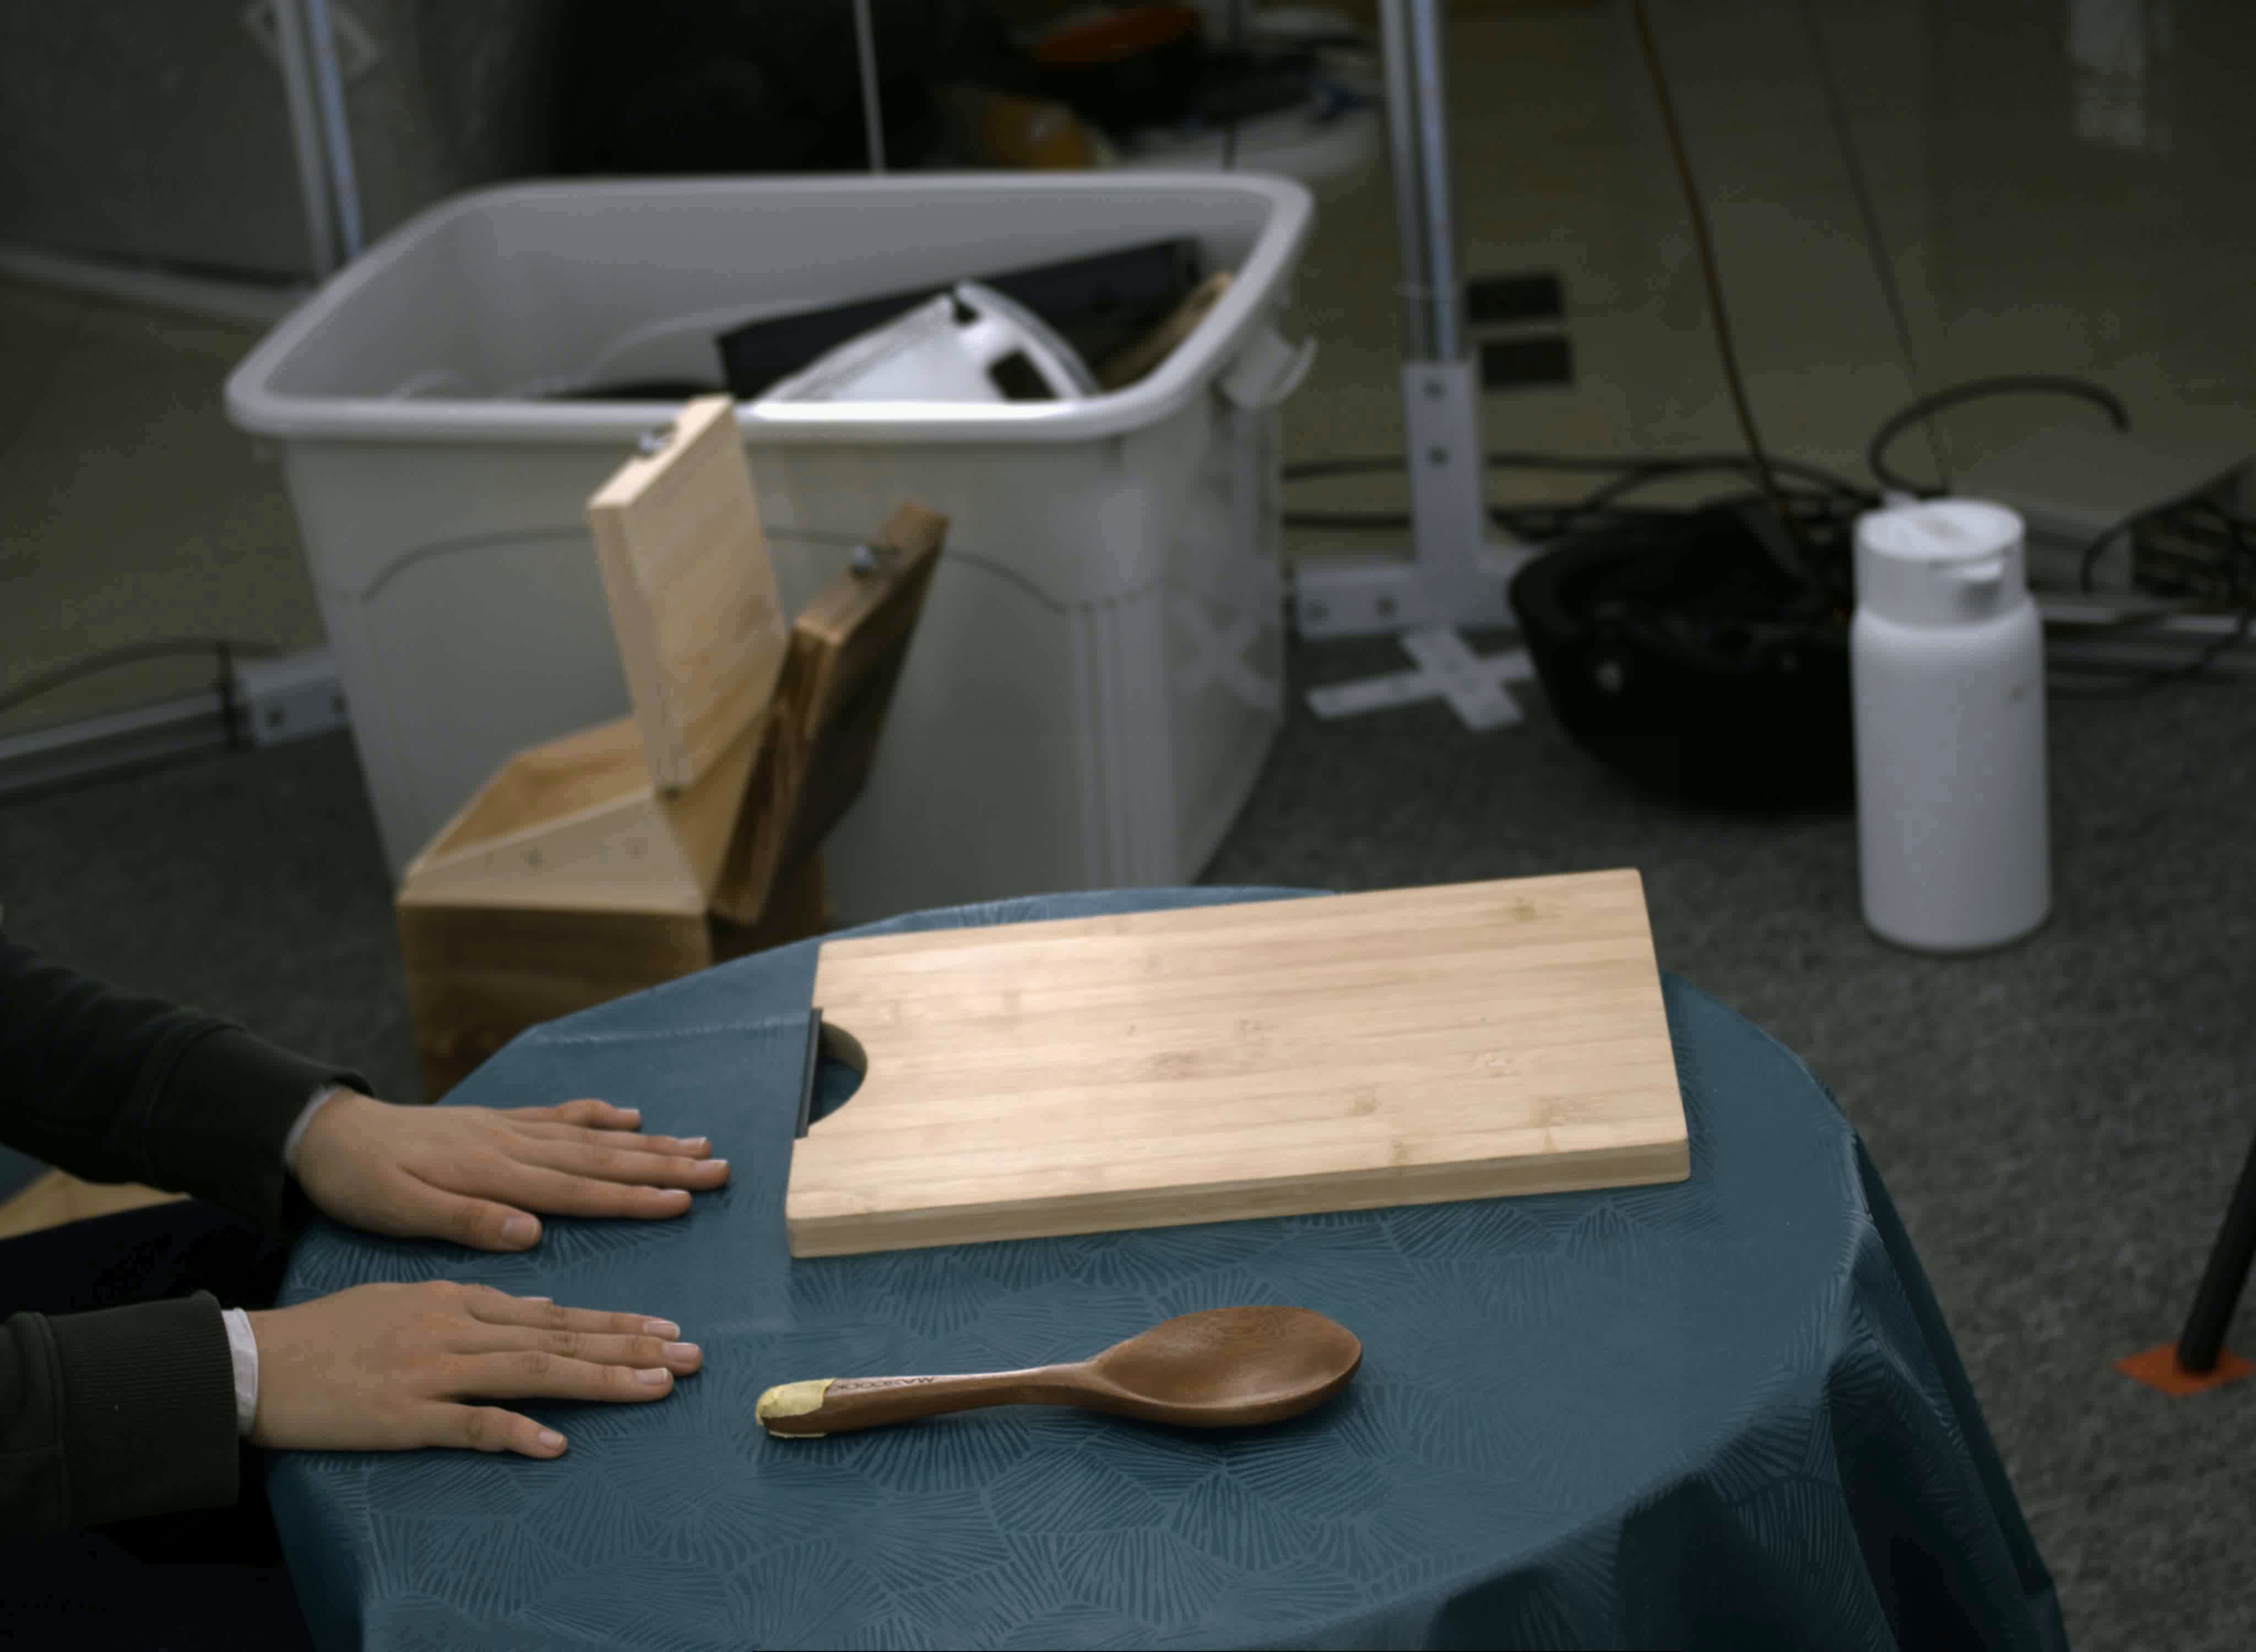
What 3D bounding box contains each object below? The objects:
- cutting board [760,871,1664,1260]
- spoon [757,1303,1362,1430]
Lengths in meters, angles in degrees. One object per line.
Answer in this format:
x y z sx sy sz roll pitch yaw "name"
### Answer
0.035 0.092 2.227 0.348 0.024 0.247 -6 24 2 "cutting board"
-0.024 0.198 2.011 0.215 0.017 0.074 -4 26 3 "spoon"
